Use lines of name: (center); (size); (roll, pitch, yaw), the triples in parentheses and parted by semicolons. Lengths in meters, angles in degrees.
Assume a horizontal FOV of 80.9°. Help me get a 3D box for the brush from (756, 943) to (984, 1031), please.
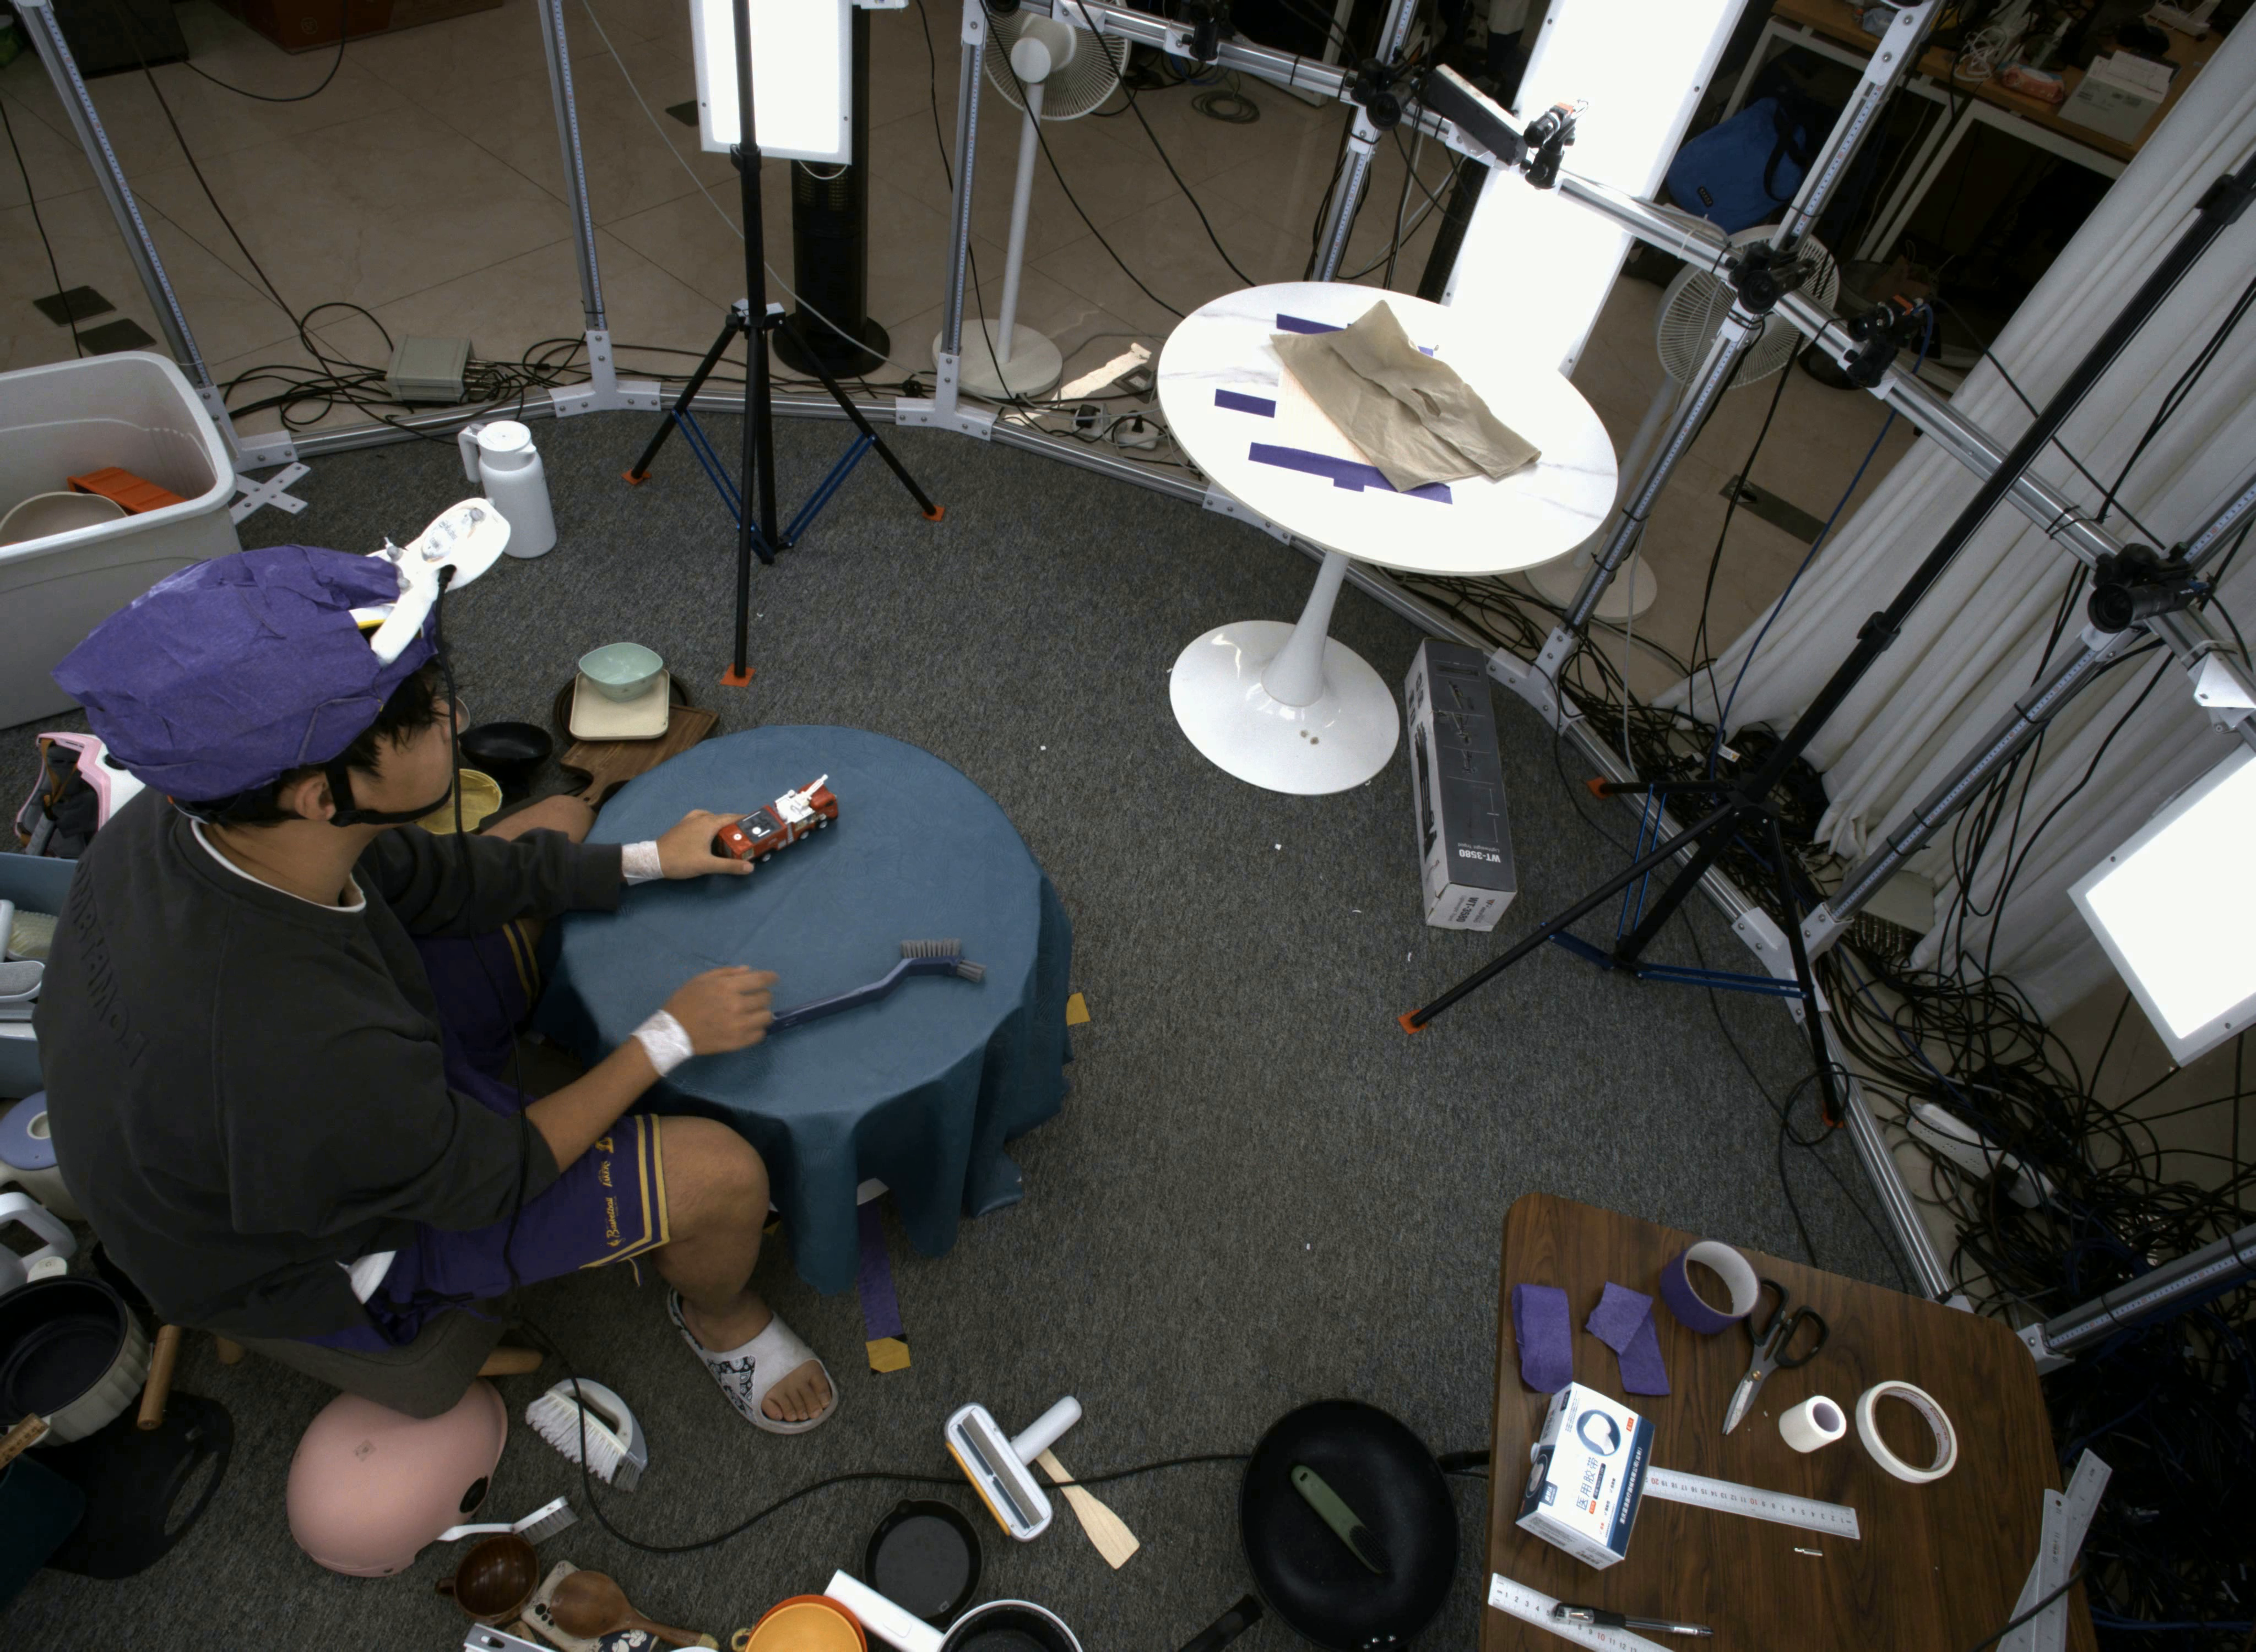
brush: (-0.314, 0.205, 1.584); (0.274, 0.034, 0.093); (-24, 64, -29)

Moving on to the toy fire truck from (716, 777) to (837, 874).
toy fire truck: (-0.454, -0.003, 1.685); (0.053, 0.072, 0.168); (42, 56, 19)
